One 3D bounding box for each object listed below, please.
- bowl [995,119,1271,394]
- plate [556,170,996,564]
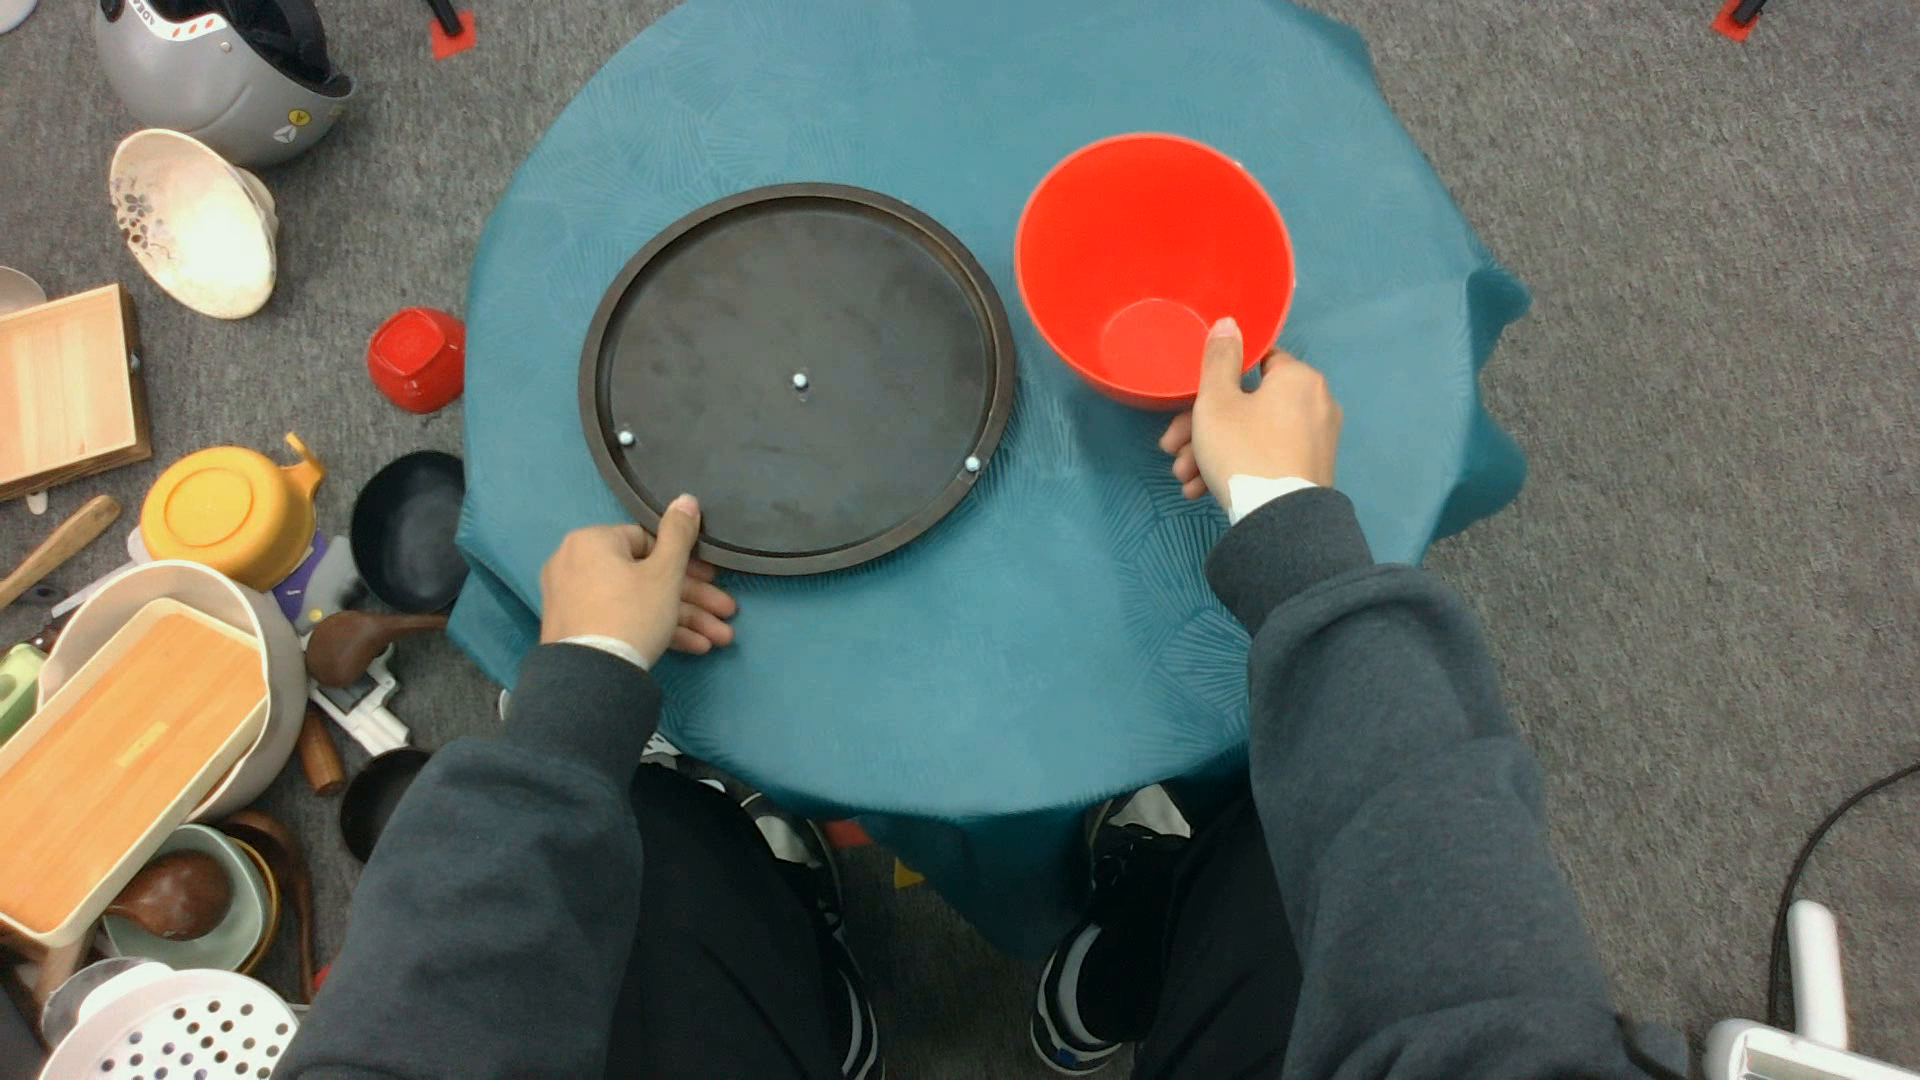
[{"bbox_3d":[0.093,-0.143,0.764,0.148,0.104,0.148,0,69,1],"label":"bowl"},{"bbox_3d":[-0.106,-0.104,0.798,0.255,0.029,0.255,0,70,0],"label":"plate"}]
